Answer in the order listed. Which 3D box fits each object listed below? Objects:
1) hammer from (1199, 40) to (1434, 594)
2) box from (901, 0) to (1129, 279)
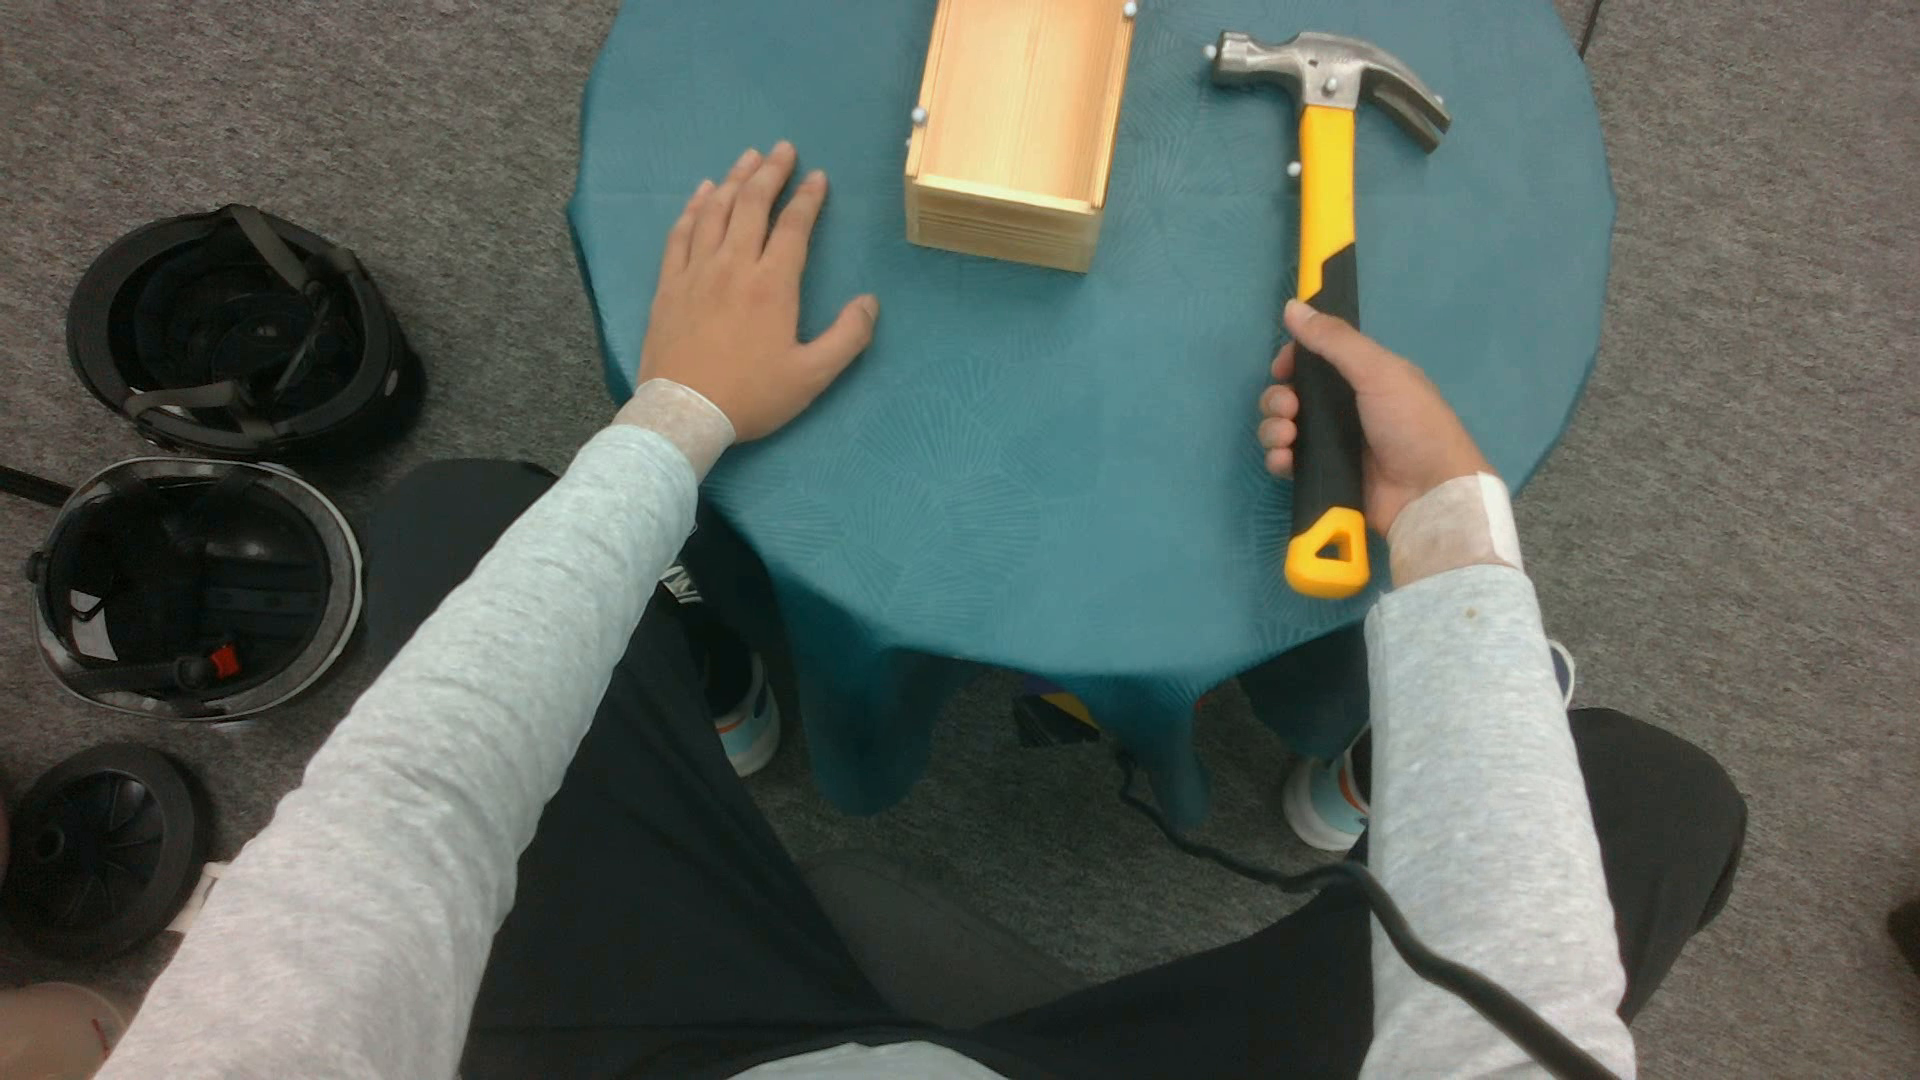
[{"bbox_3d":[0.199,-0.133,0.763,0.131,0.032,0.339,5,69,-1],"label":"hammer"},{"bbox_3d":[0.036,-0.268,0.788,0.107,0.080,0.212,8,76,1],"label":"box"}]
